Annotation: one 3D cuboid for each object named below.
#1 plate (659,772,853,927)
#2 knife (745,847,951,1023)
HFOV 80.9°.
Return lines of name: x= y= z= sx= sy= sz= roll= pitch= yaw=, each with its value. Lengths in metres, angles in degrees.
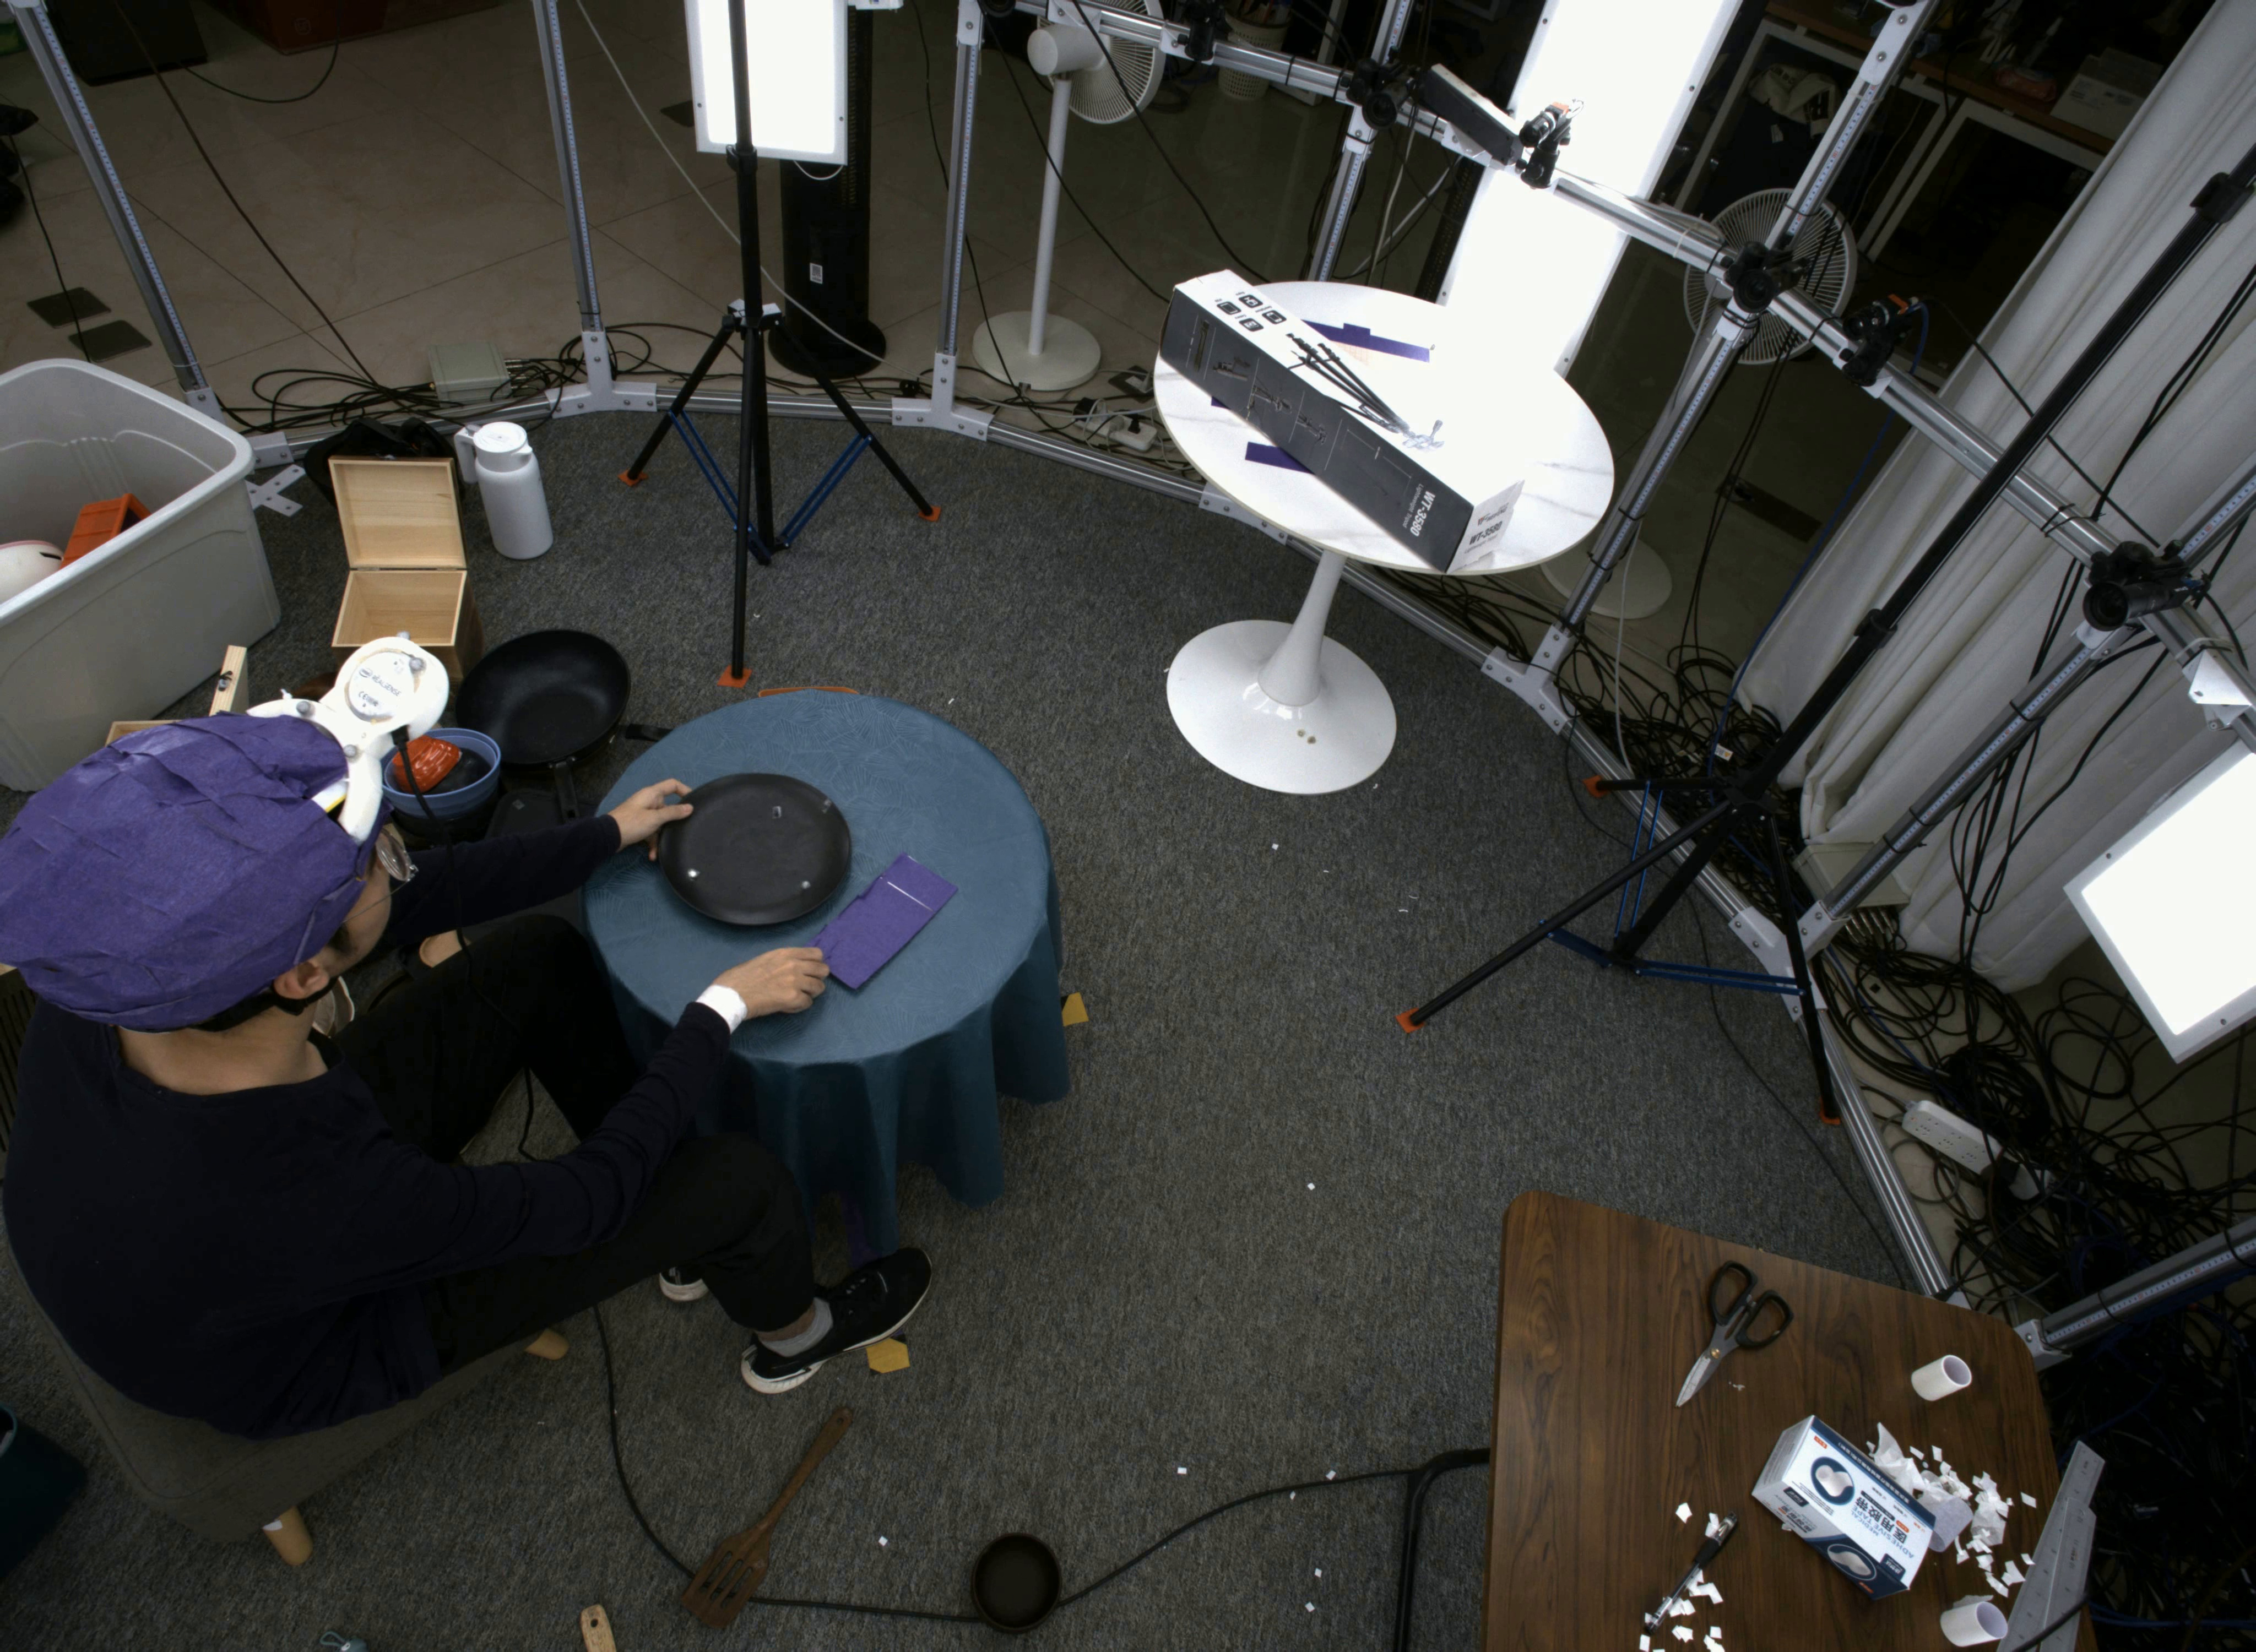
plate: x=-0.481 y=0.031 z=1.678 sx=0.244 sy=0.024 sz=0.240 roll=9 pitch=53 yaw=-10
knife: x=-0.342 y=0.143 z=1.633 sx=0.102 sy=0.033 sz=0.314 roll=32 pitch=53 yaw=11
